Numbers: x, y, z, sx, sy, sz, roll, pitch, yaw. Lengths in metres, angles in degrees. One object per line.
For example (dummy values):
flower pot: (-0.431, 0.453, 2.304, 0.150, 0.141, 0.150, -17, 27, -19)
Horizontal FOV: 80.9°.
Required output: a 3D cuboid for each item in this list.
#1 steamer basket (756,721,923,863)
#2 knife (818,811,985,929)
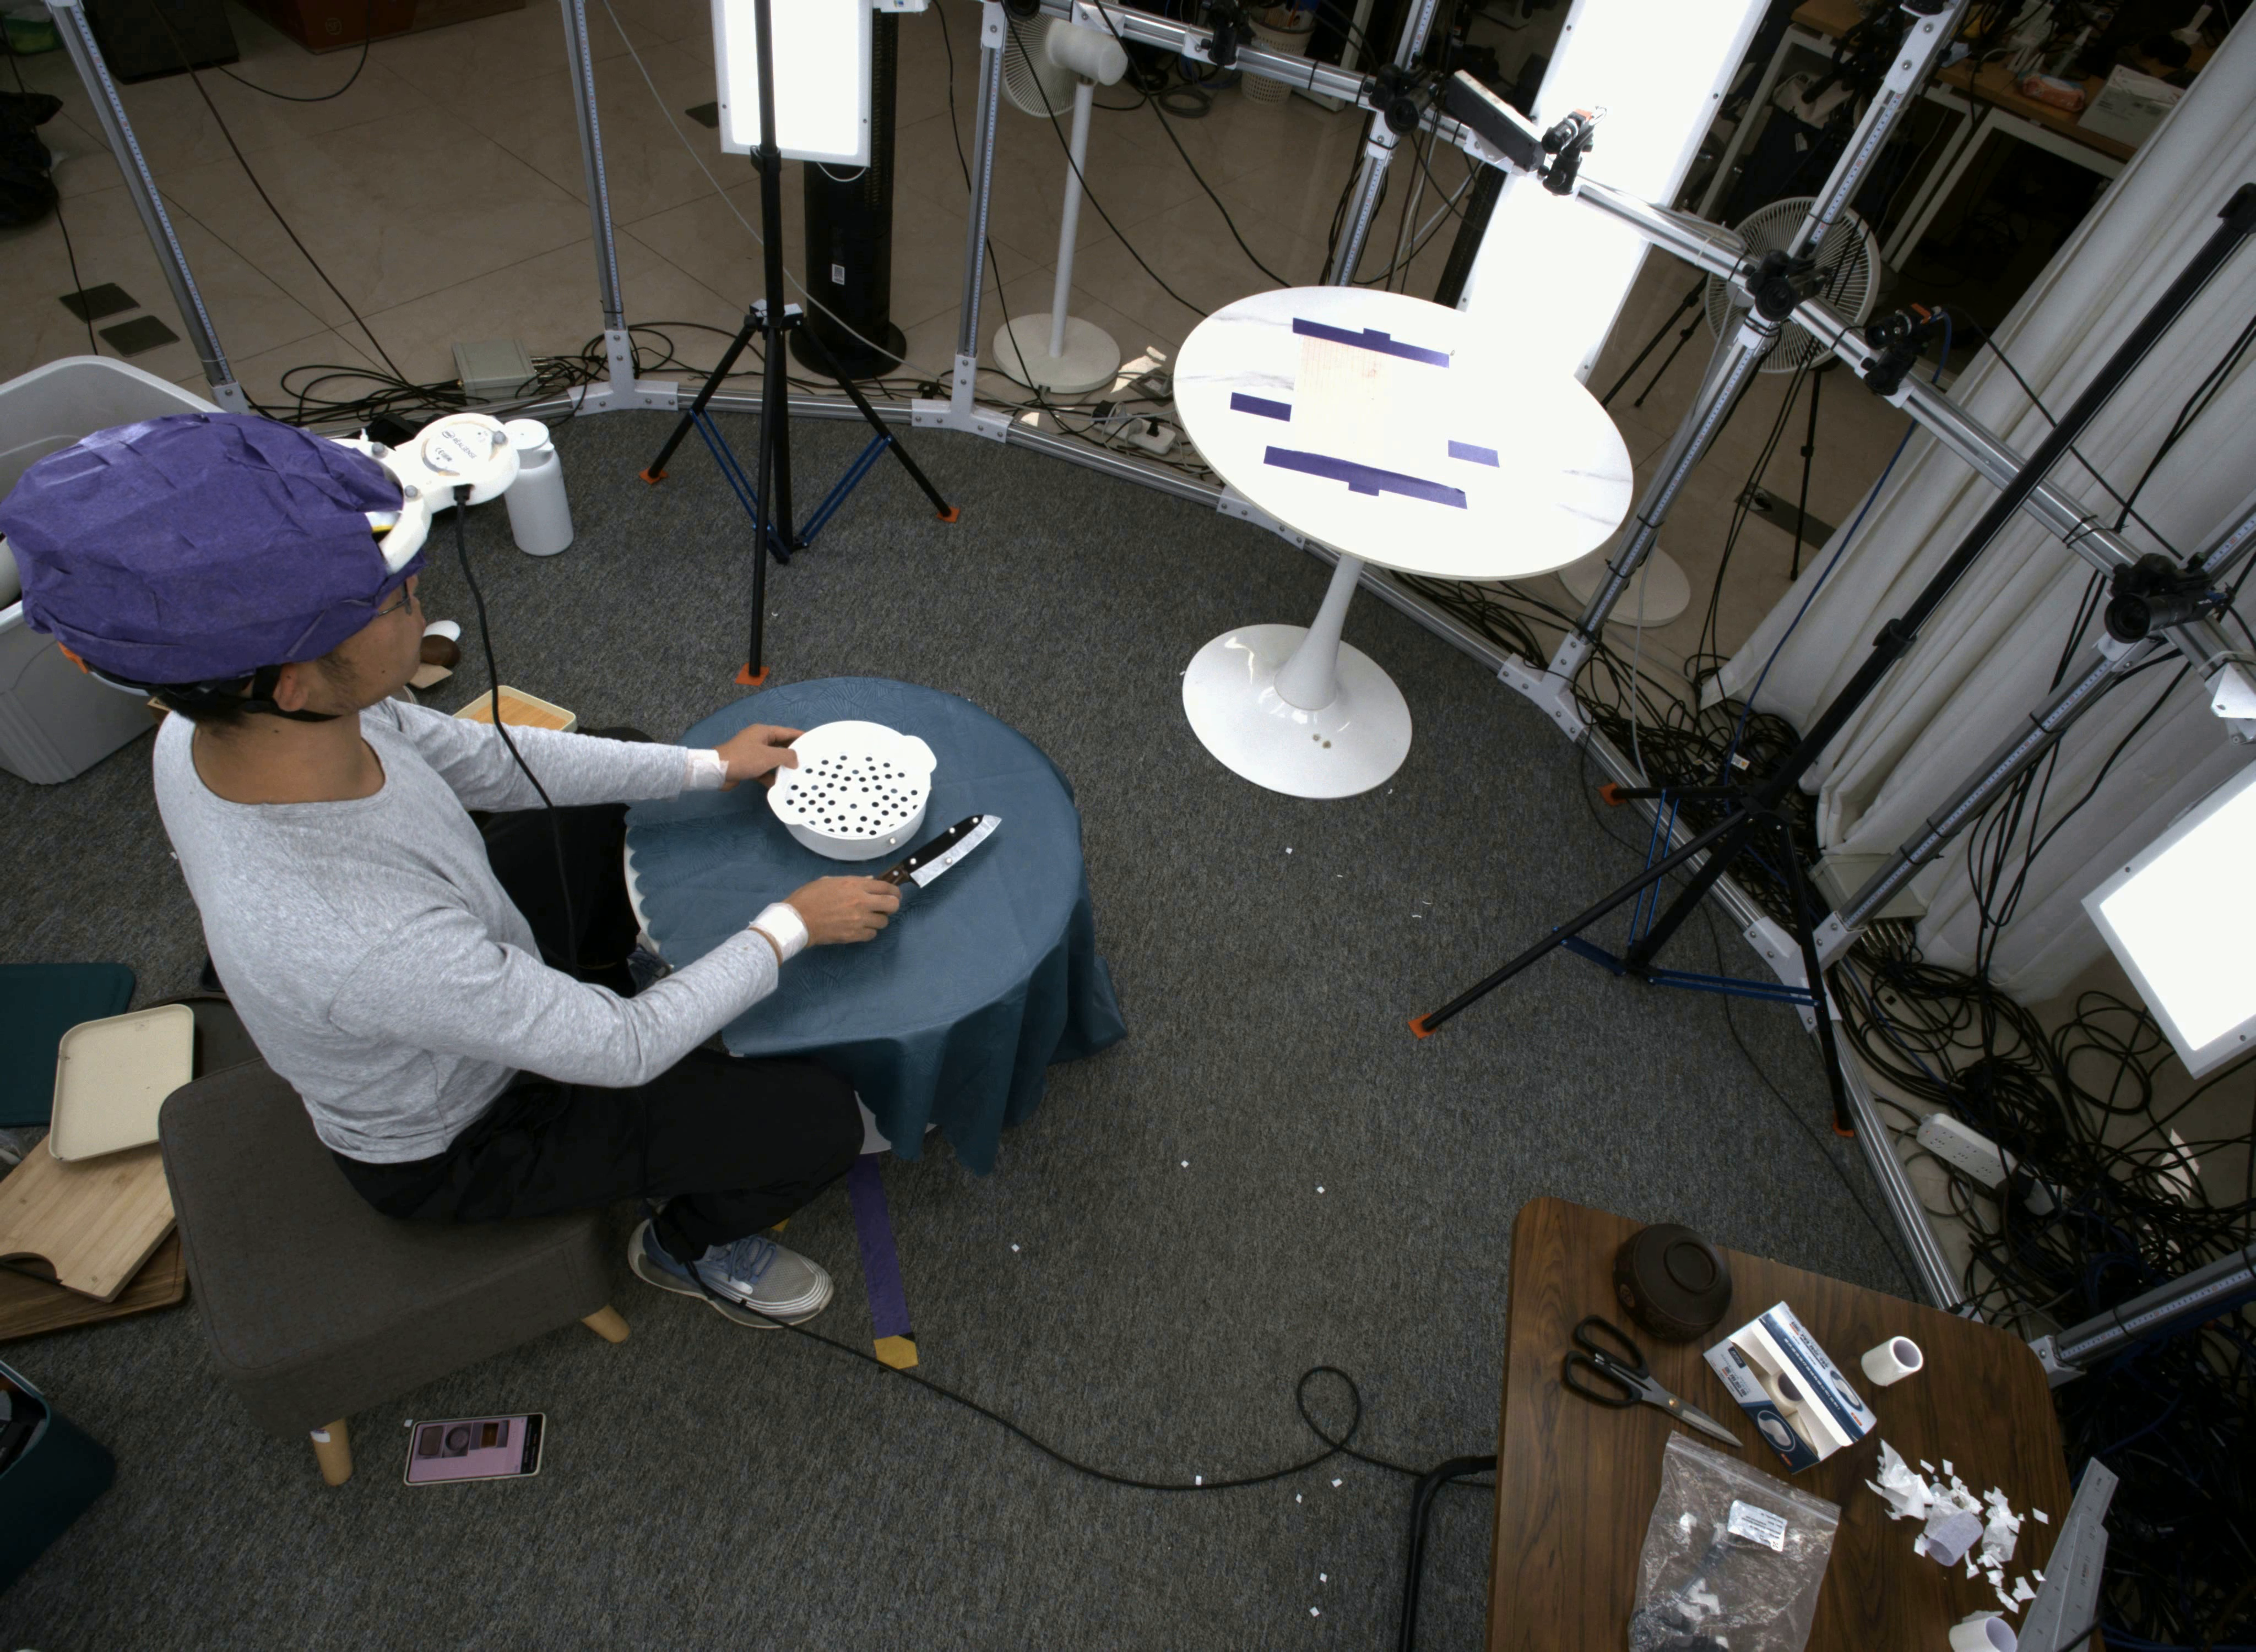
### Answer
steamer basket: (-0.383, -0.046, 1.737, 0.231, 0.071, 0.197, -26, 63, -28)
knife: (-0.285, 0.050, 1.675, 0.050, 0.020, 0.290, 48, 50, 6)
